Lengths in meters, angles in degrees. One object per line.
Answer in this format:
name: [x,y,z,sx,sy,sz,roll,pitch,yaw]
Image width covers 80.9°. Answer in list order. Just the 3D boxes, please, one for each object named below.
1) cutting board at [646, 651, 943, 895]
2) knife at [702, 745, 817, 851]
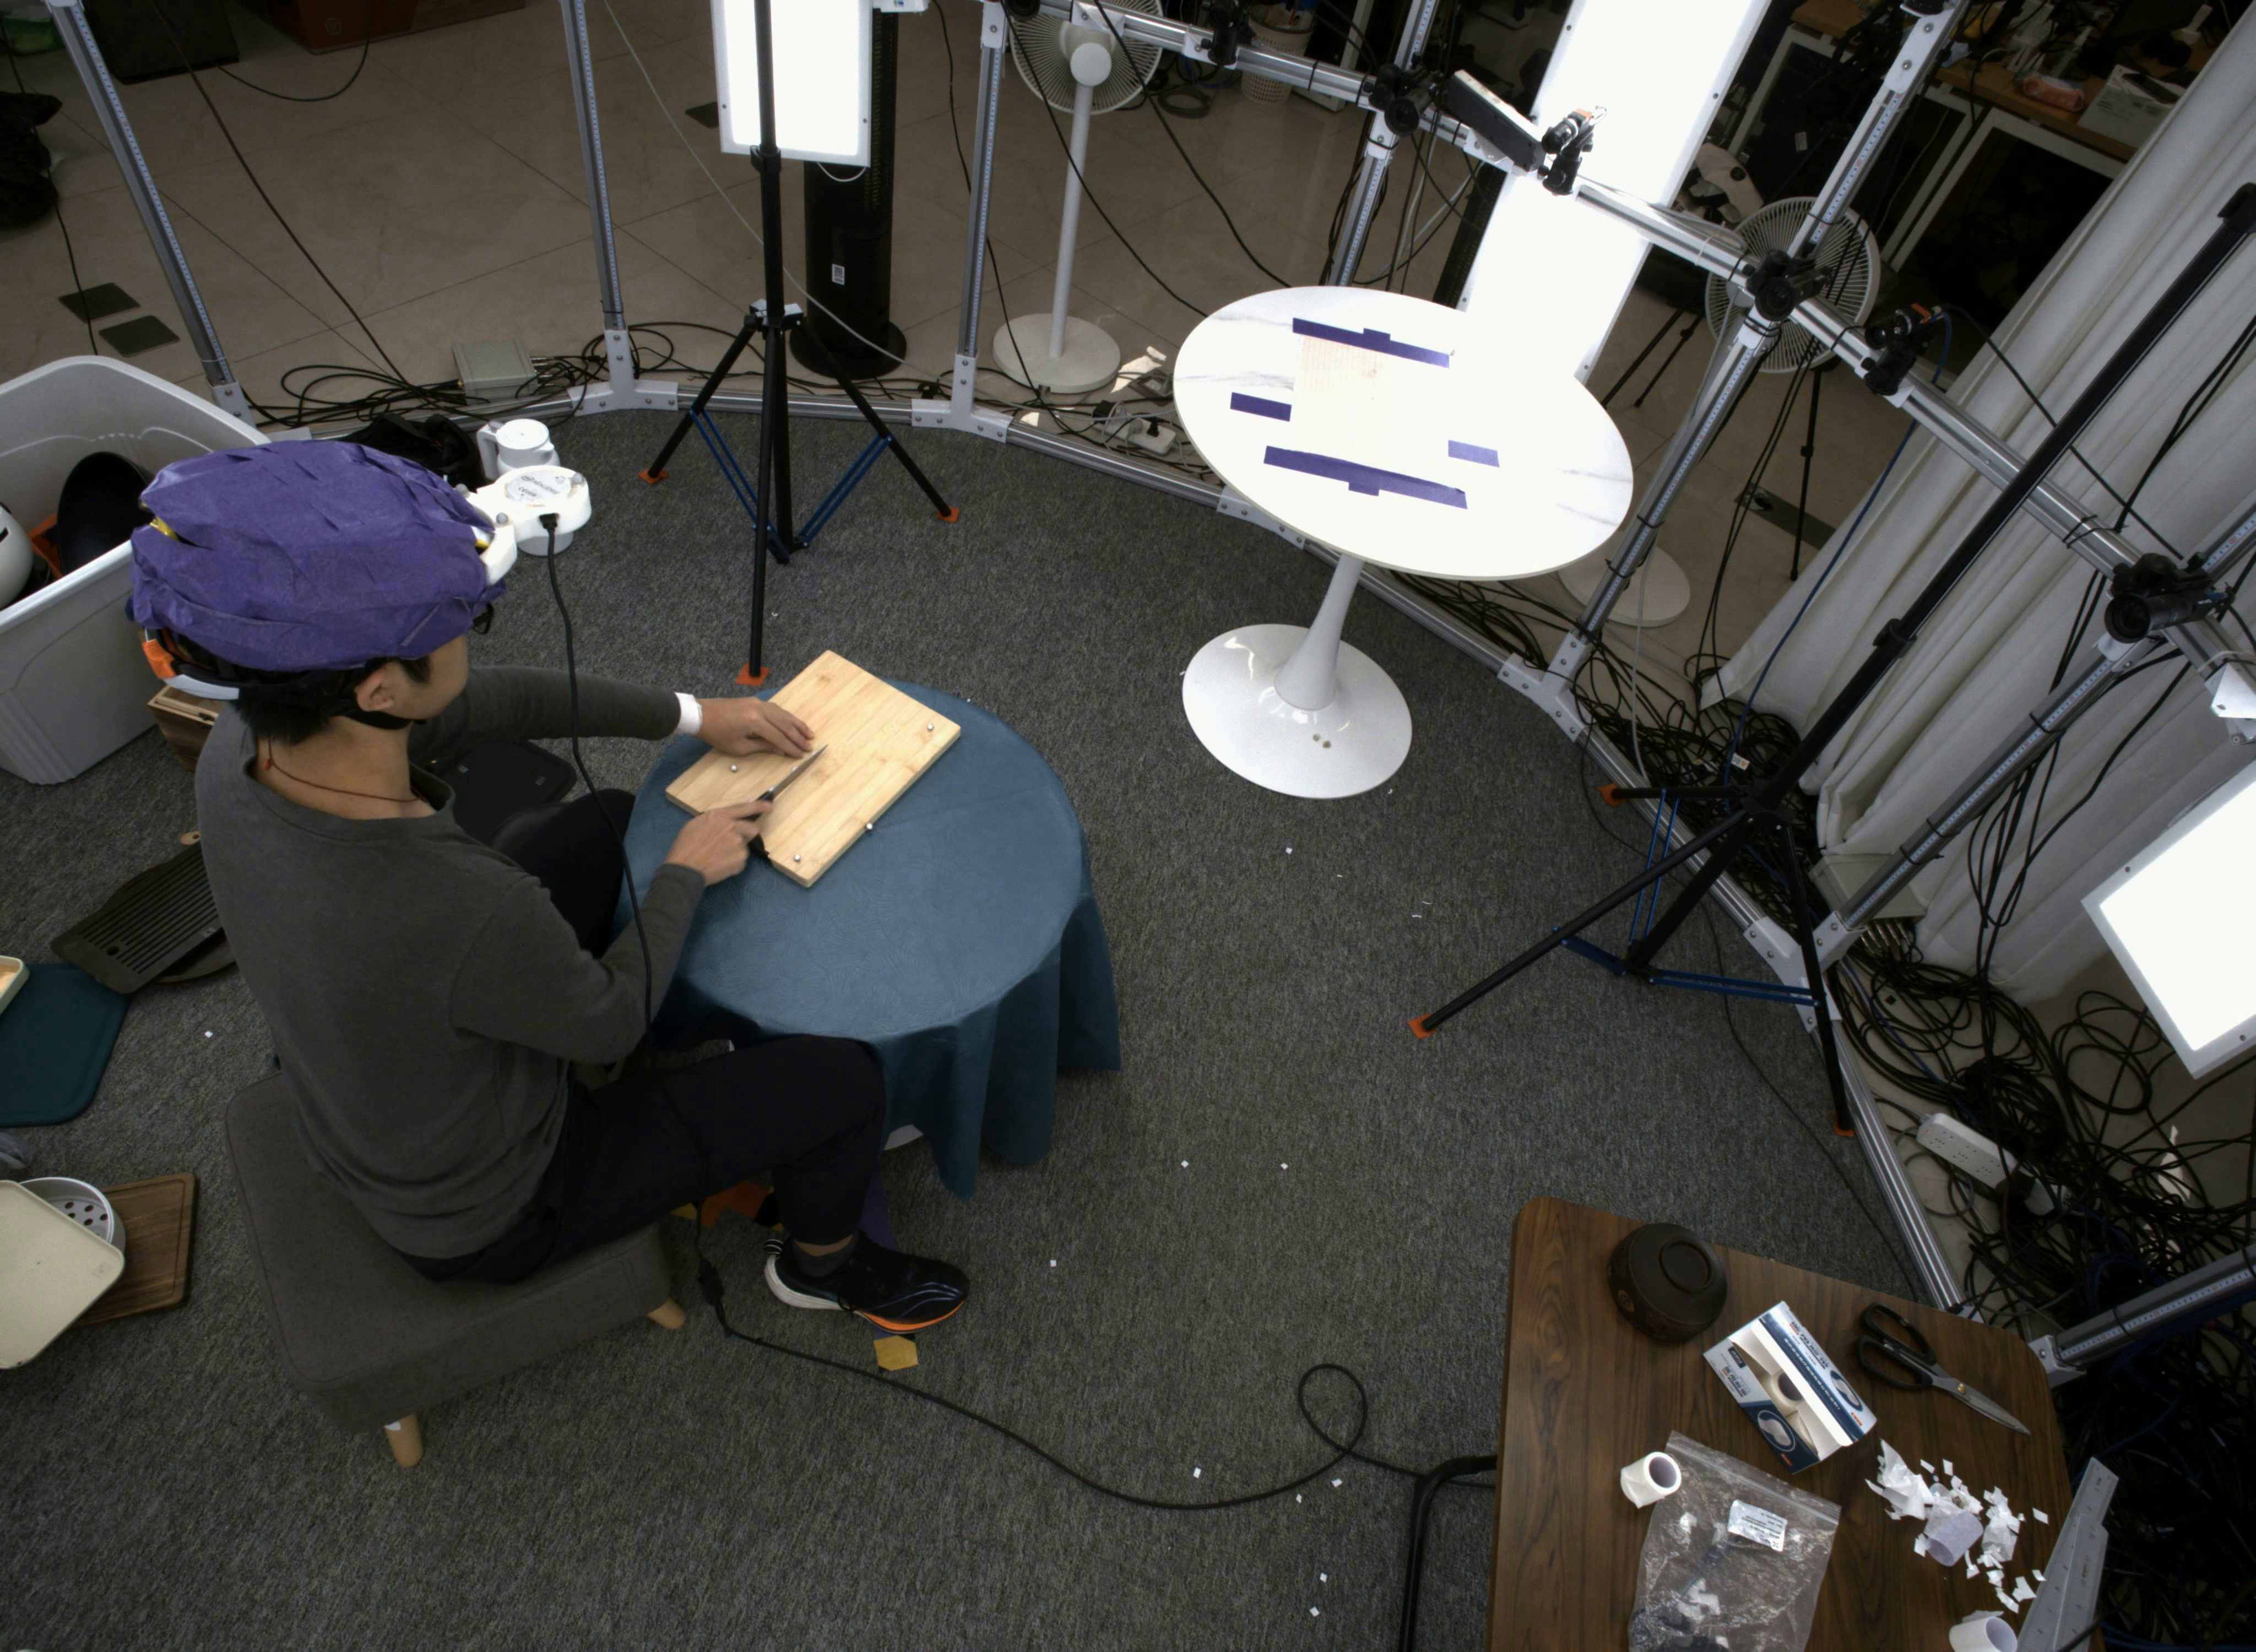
cutting board: [-0.450,-0.083,1.780,0.246,0.024,0.347,29,52,9]
knife: [-0.482,-0.045,1.708,0.016,0.025,0.237,28,45,10]
